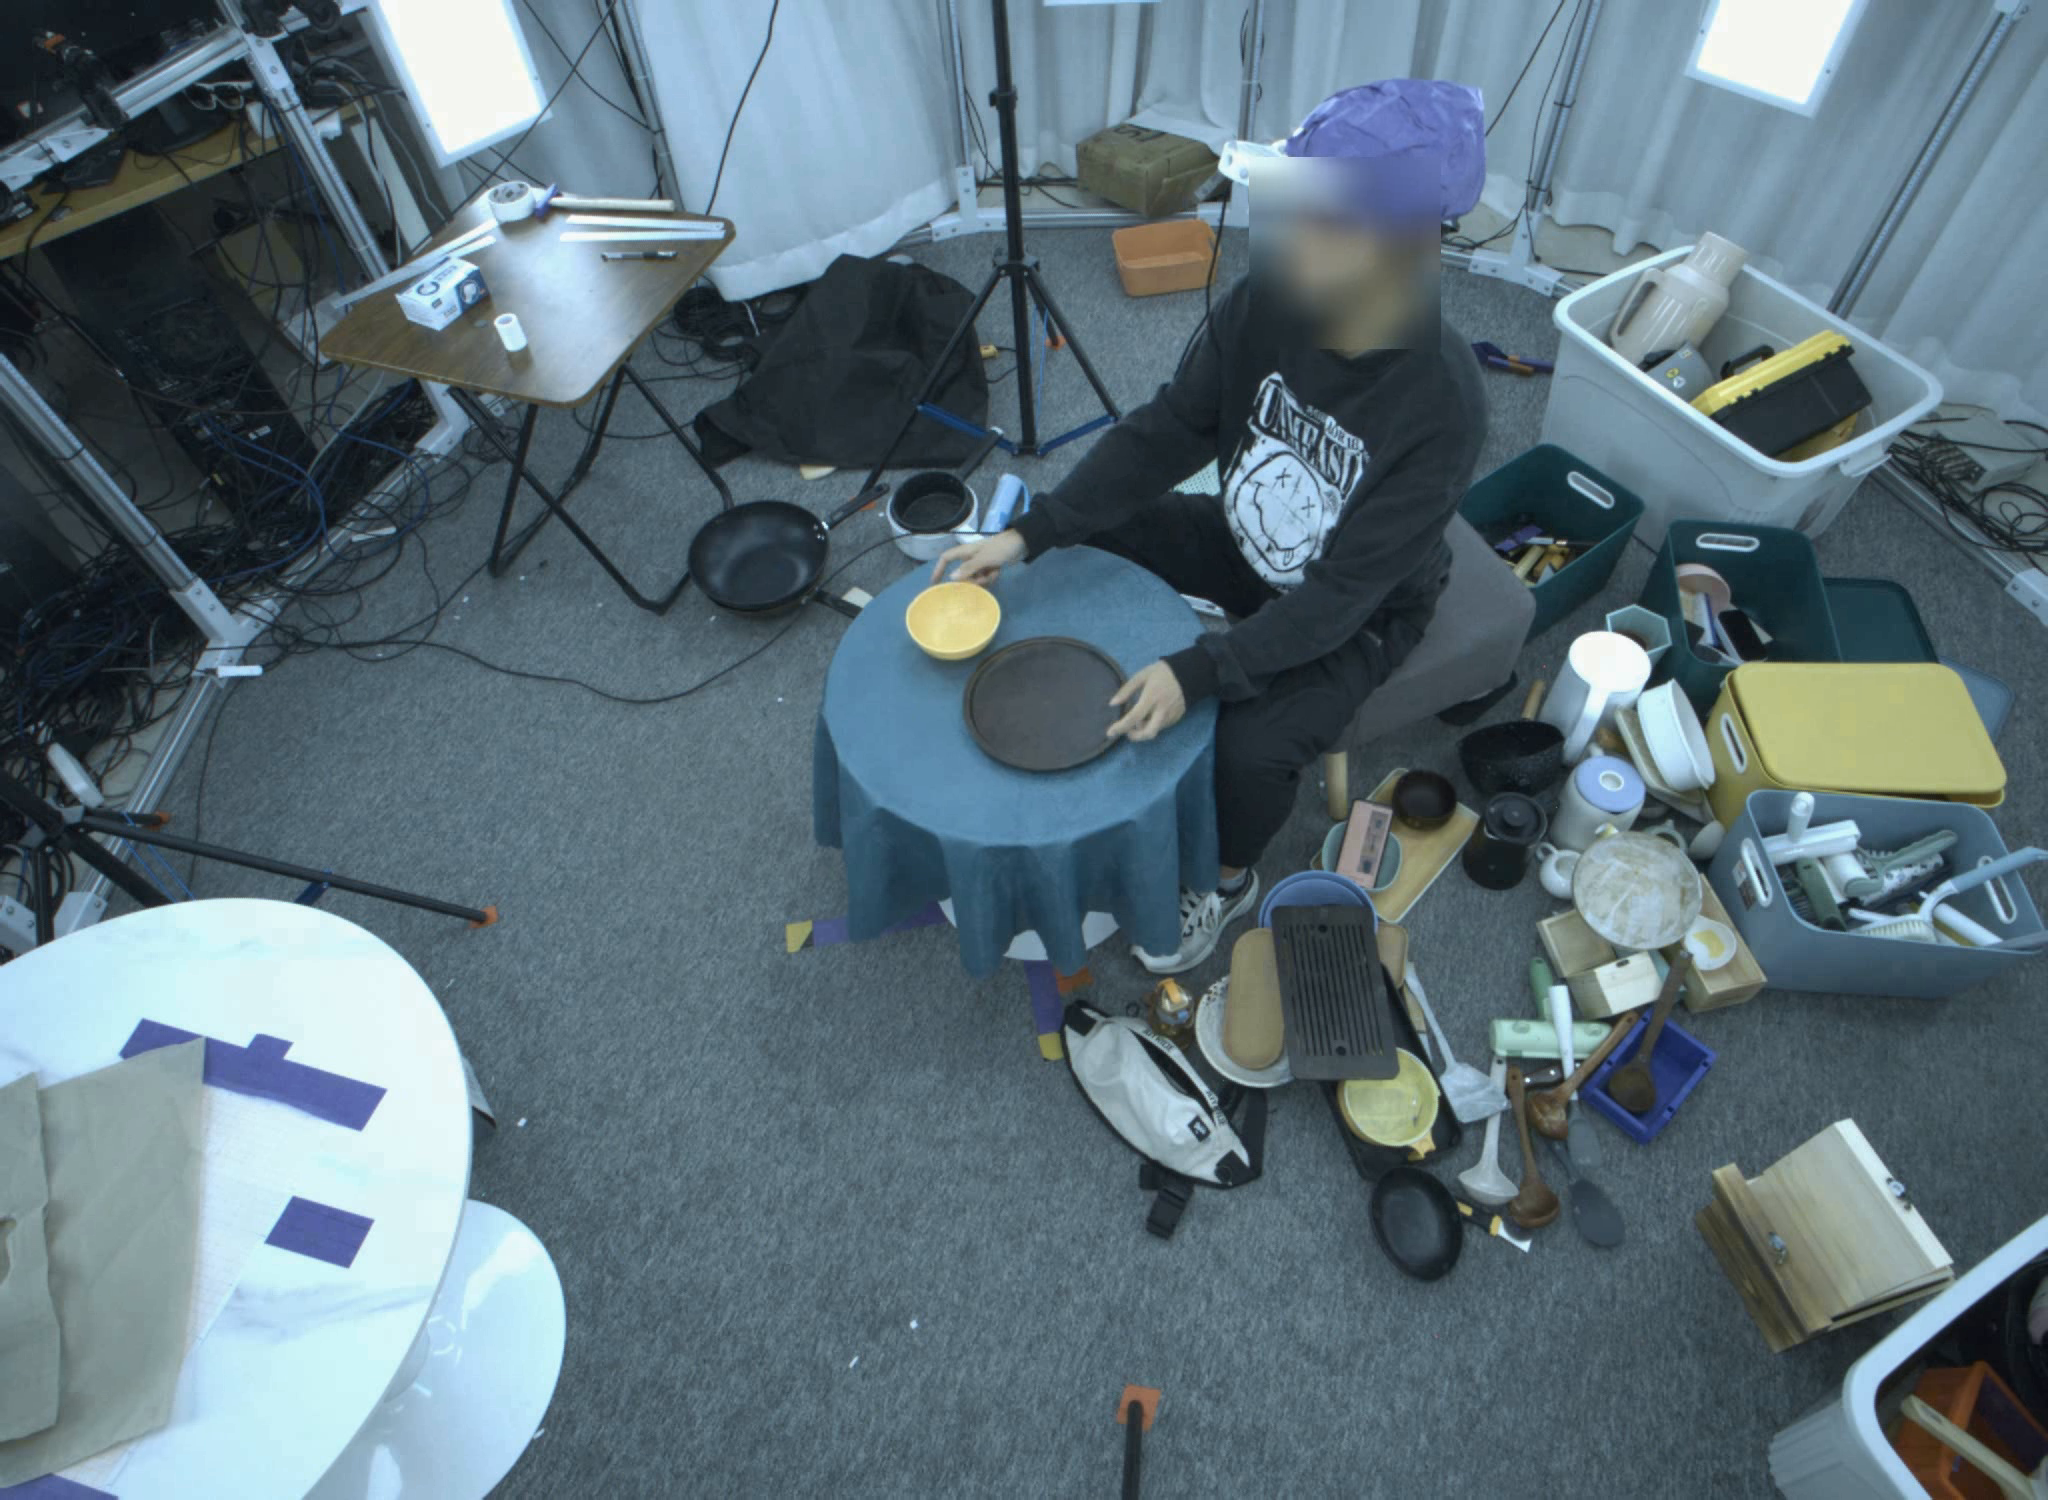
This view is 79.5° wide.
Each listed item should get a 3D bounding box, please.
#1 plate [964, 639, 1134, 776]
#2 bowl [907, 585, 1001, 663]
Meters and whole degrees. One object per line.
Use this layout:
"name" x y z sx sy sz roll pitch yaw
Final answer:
"plate" 0.037 -0.064 1.828 0.254 0.029 0.252 0 53 1
"bowl" -0.107 -0.183 1.896 0.145 0.060 0.144 1 56 0
